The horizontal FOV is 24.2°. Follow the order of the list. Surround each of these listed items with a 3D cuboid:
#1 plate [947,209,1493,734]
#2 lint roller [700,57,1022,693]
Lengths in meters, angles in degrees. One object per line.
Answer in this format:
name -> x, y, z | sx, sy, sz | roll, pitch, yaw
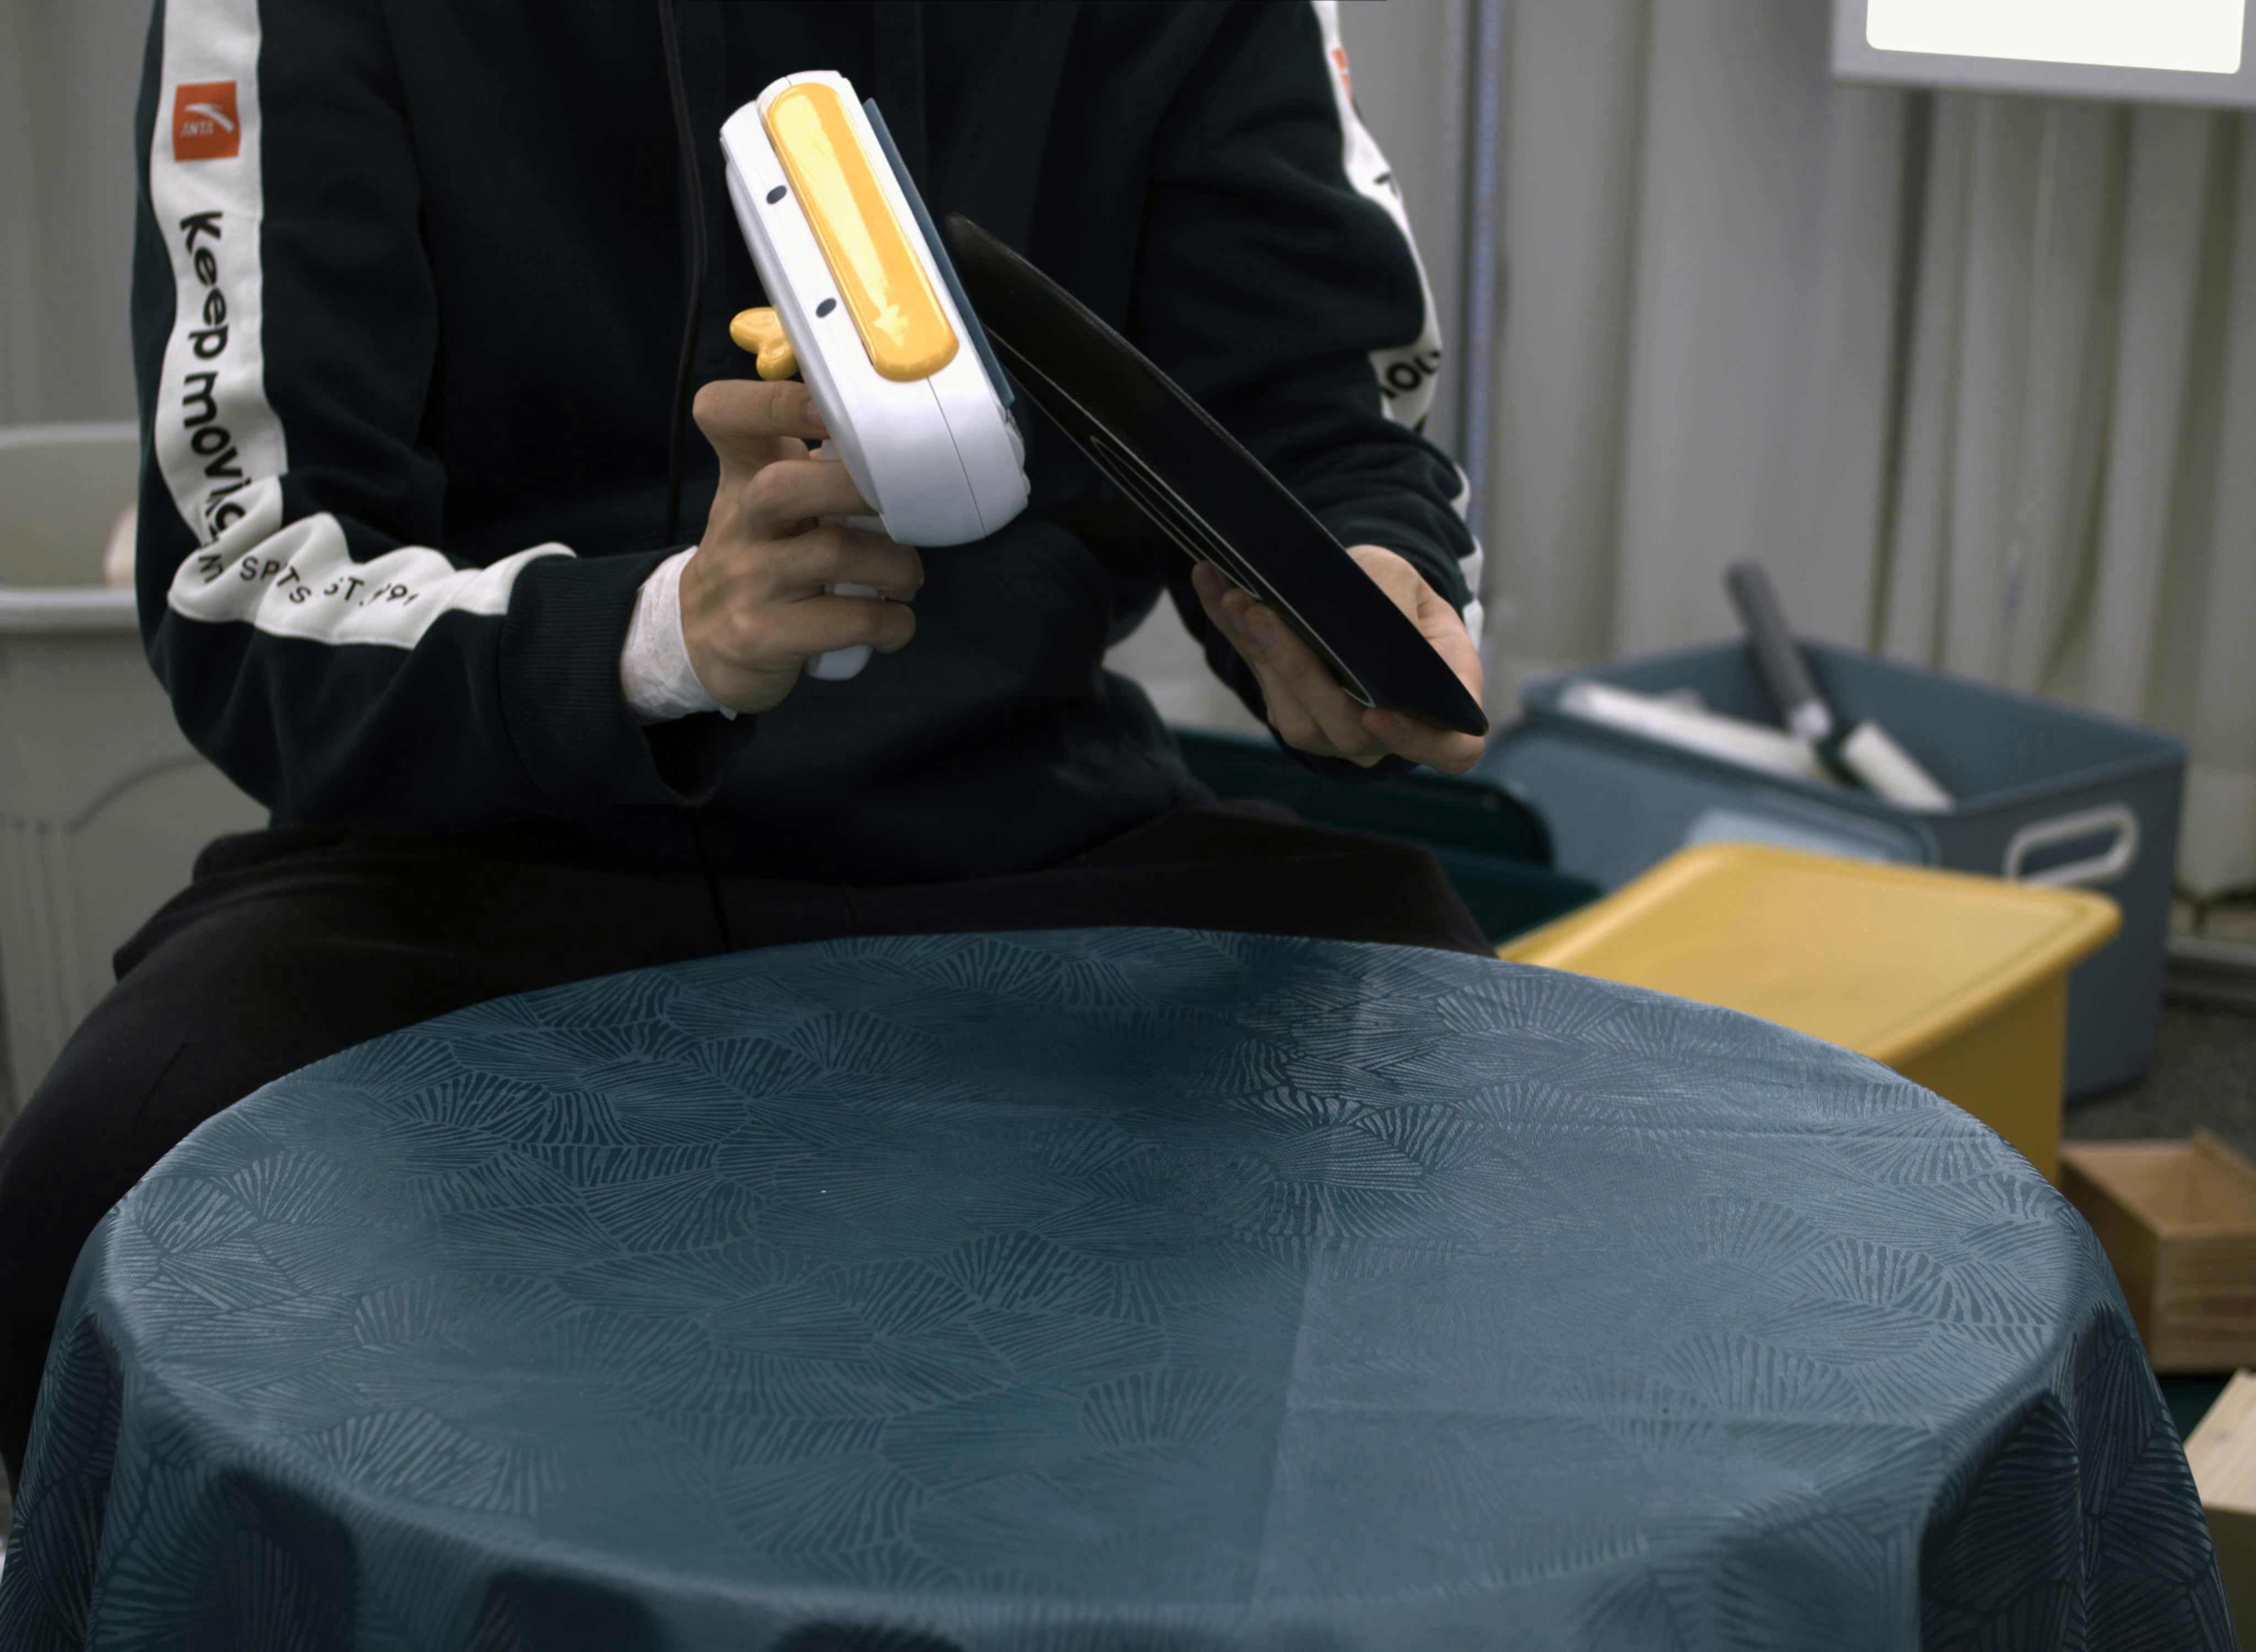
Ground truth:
plate -> 0.023, -0.108, 1.712 | 0.244, 0.023, 0.244 | 43, -1, 2
lint roller -> -0.085, -0.126, 1.708 | 0.074, 0.195, 0.190 | -21, 46, -13
